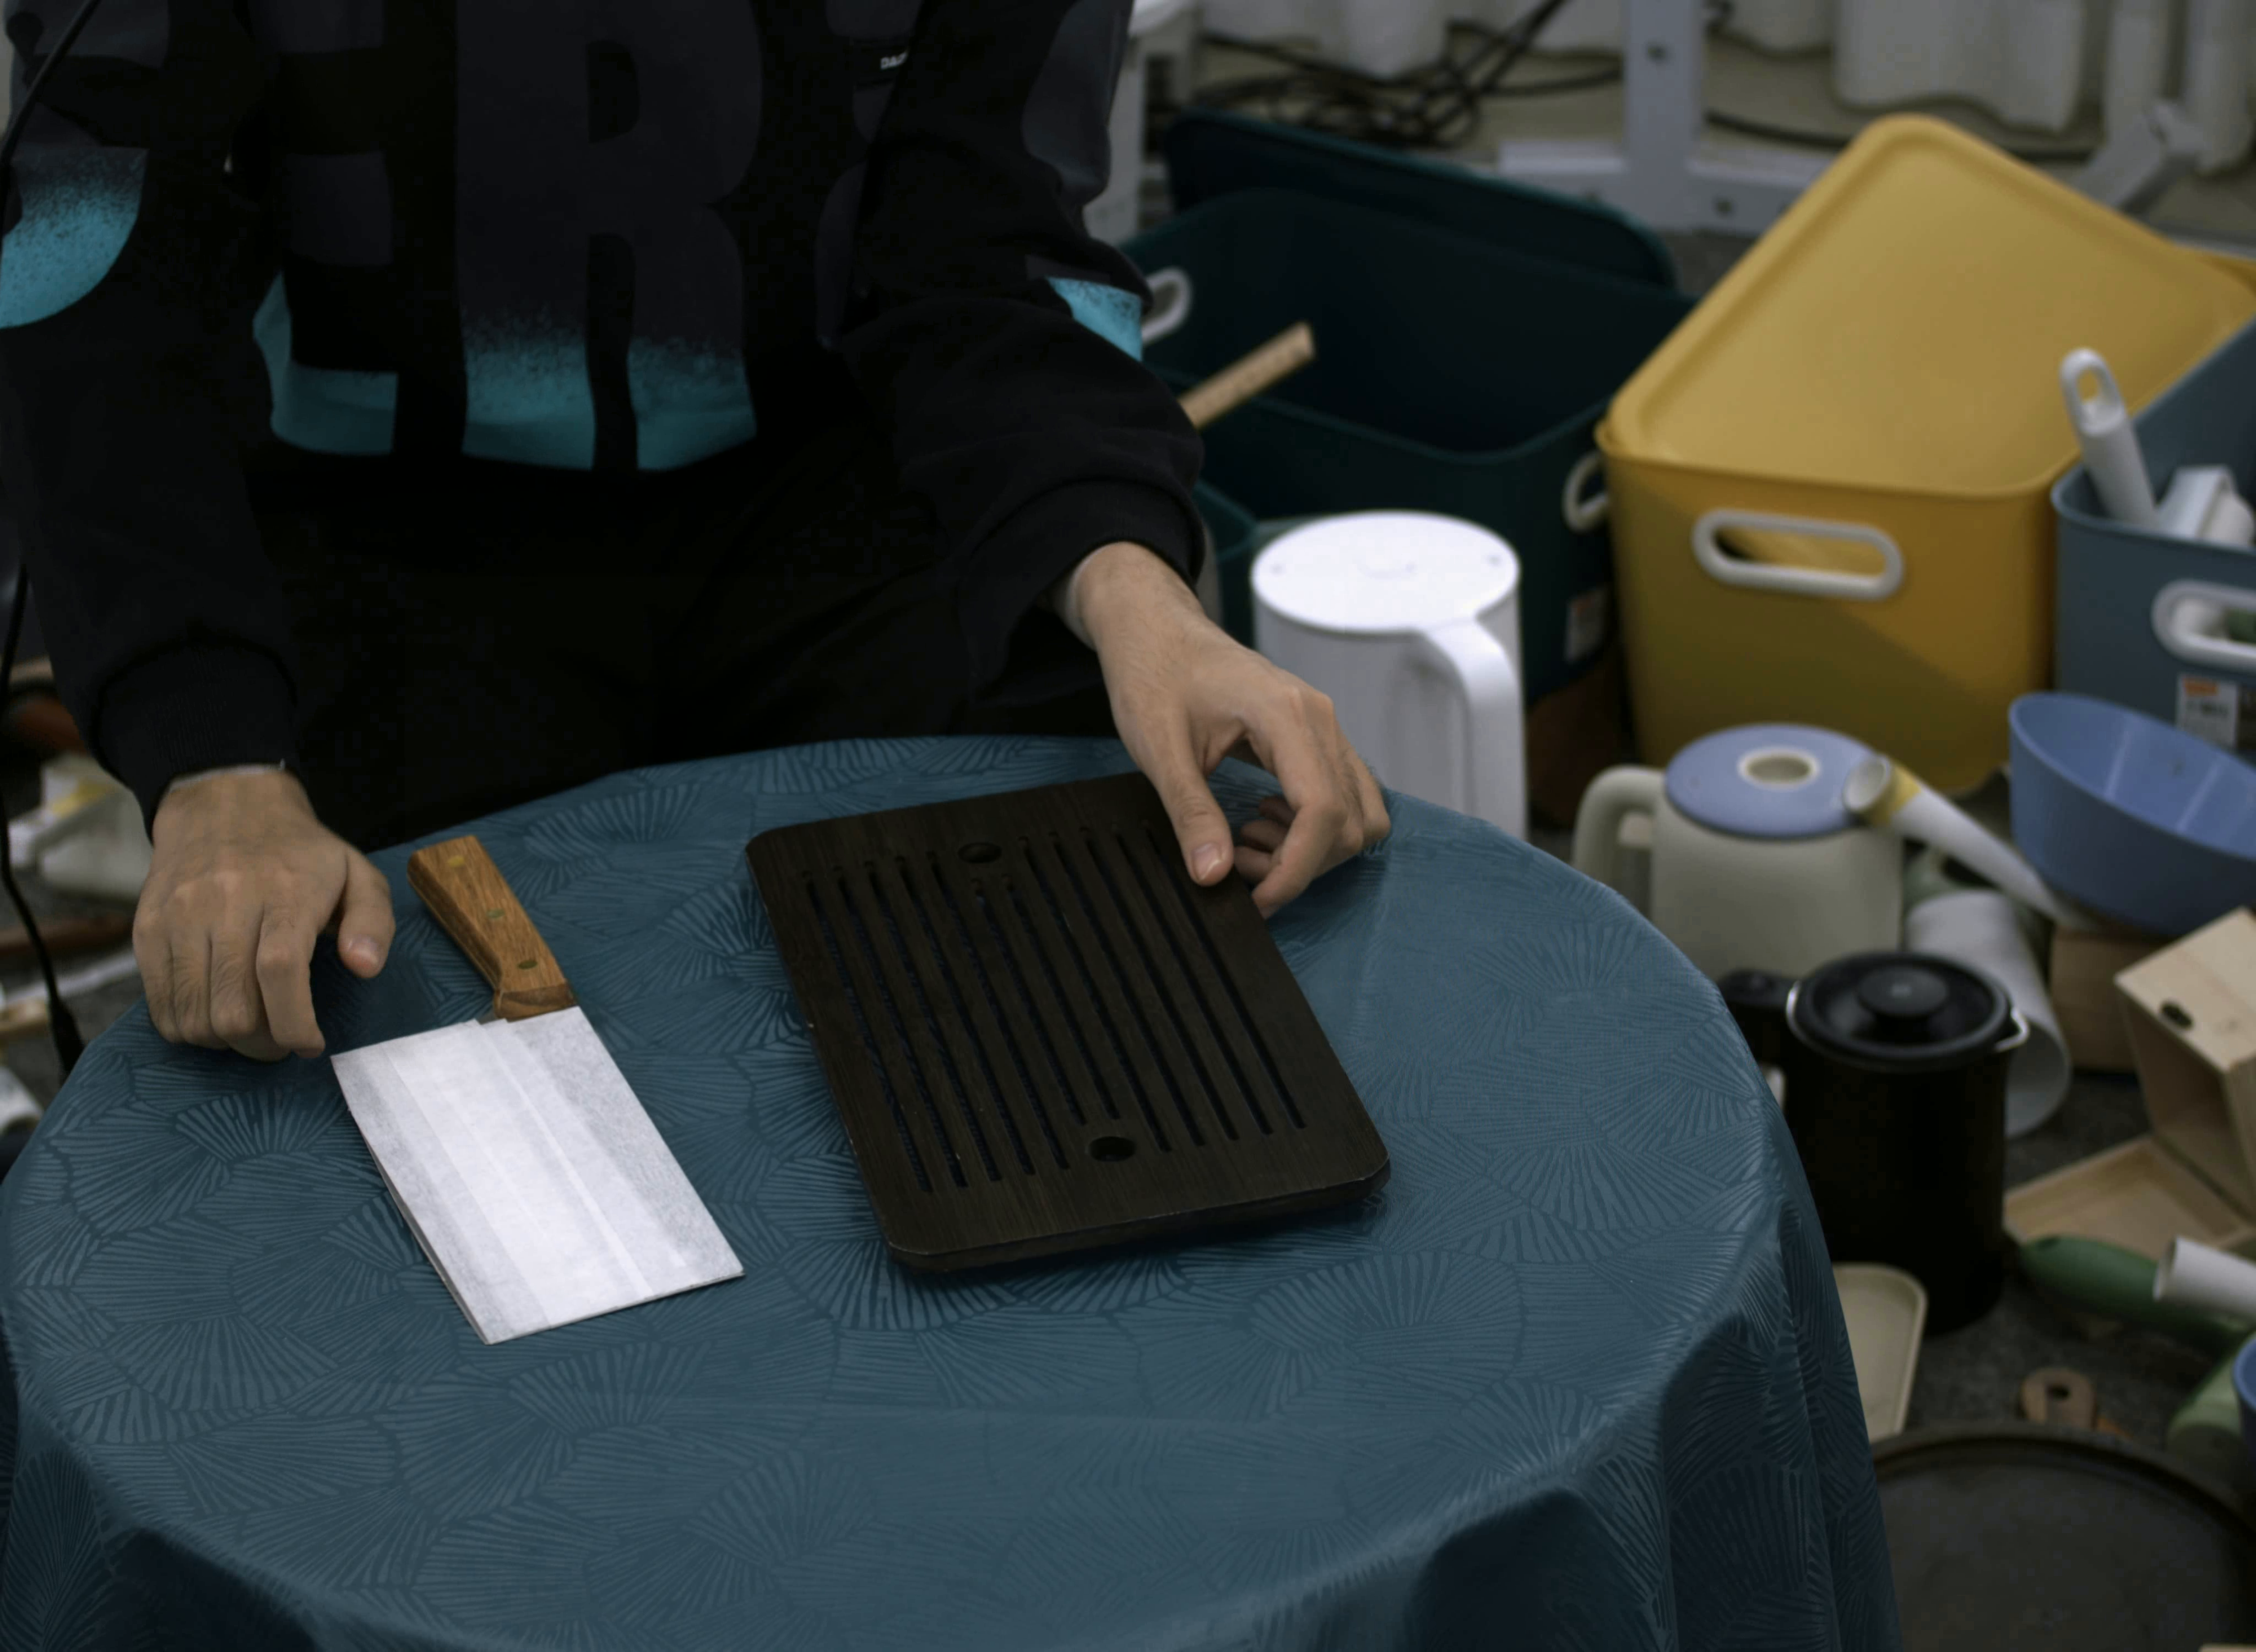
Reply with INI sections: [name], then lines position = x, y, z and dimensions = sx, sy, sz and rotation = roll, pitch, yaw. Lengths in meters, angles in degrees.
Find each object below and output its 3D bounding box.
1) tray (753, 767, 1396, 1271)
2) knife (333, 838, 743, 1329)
[tray]
position = -0.025, 0.064, 1.955
dimensions = 0.170, 0.018, 0.309
rotation = -9, 28, -10
[knife]
position = -0.221, 0.088, 1.933
dimensions = 0.093, 0.021, 0.308
rotation = -14, 32, -17
